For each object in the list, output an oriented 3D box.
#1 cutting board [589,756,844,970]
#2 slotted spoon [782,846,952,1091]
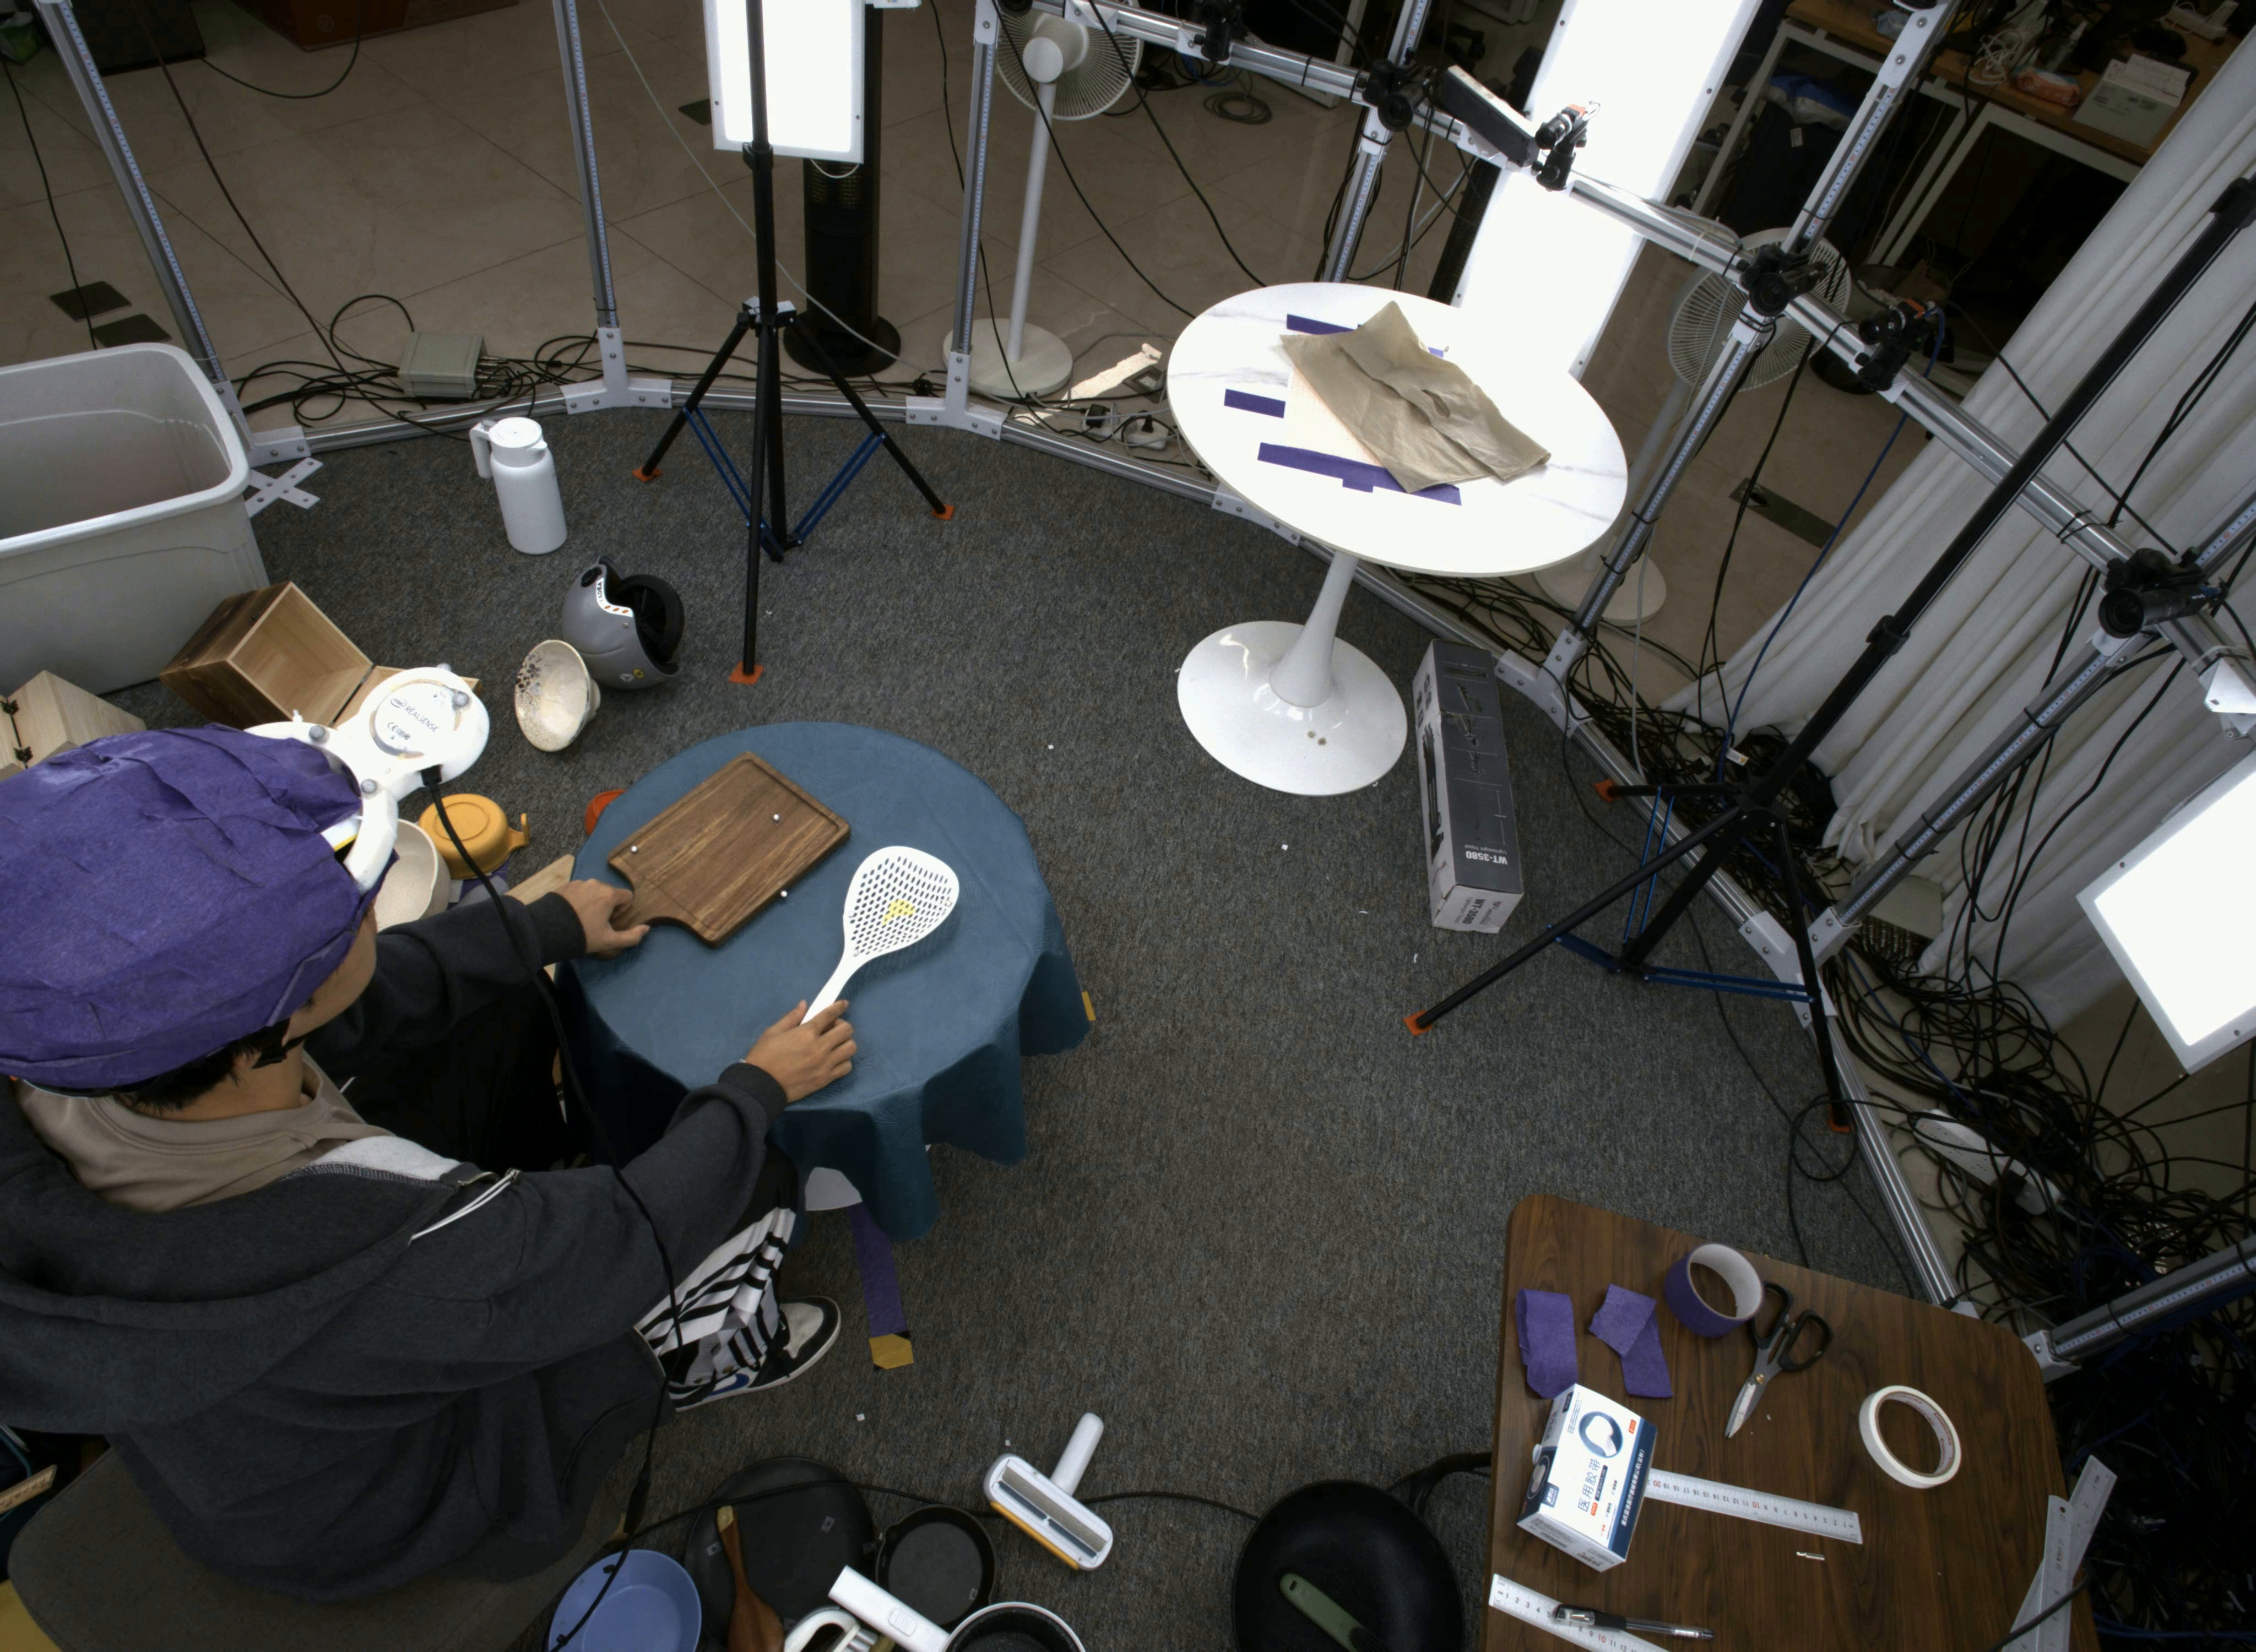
[{"bbox_3d":[-0.550,0.058,1.640,0.197,0.023,0.352,34,53,13],"label":"cutting board"},{"bbox_3d":[-0.338,0.168,1.599,0.135,0.051,0.345,24,52,6],"label":"slotted spoon"}]
